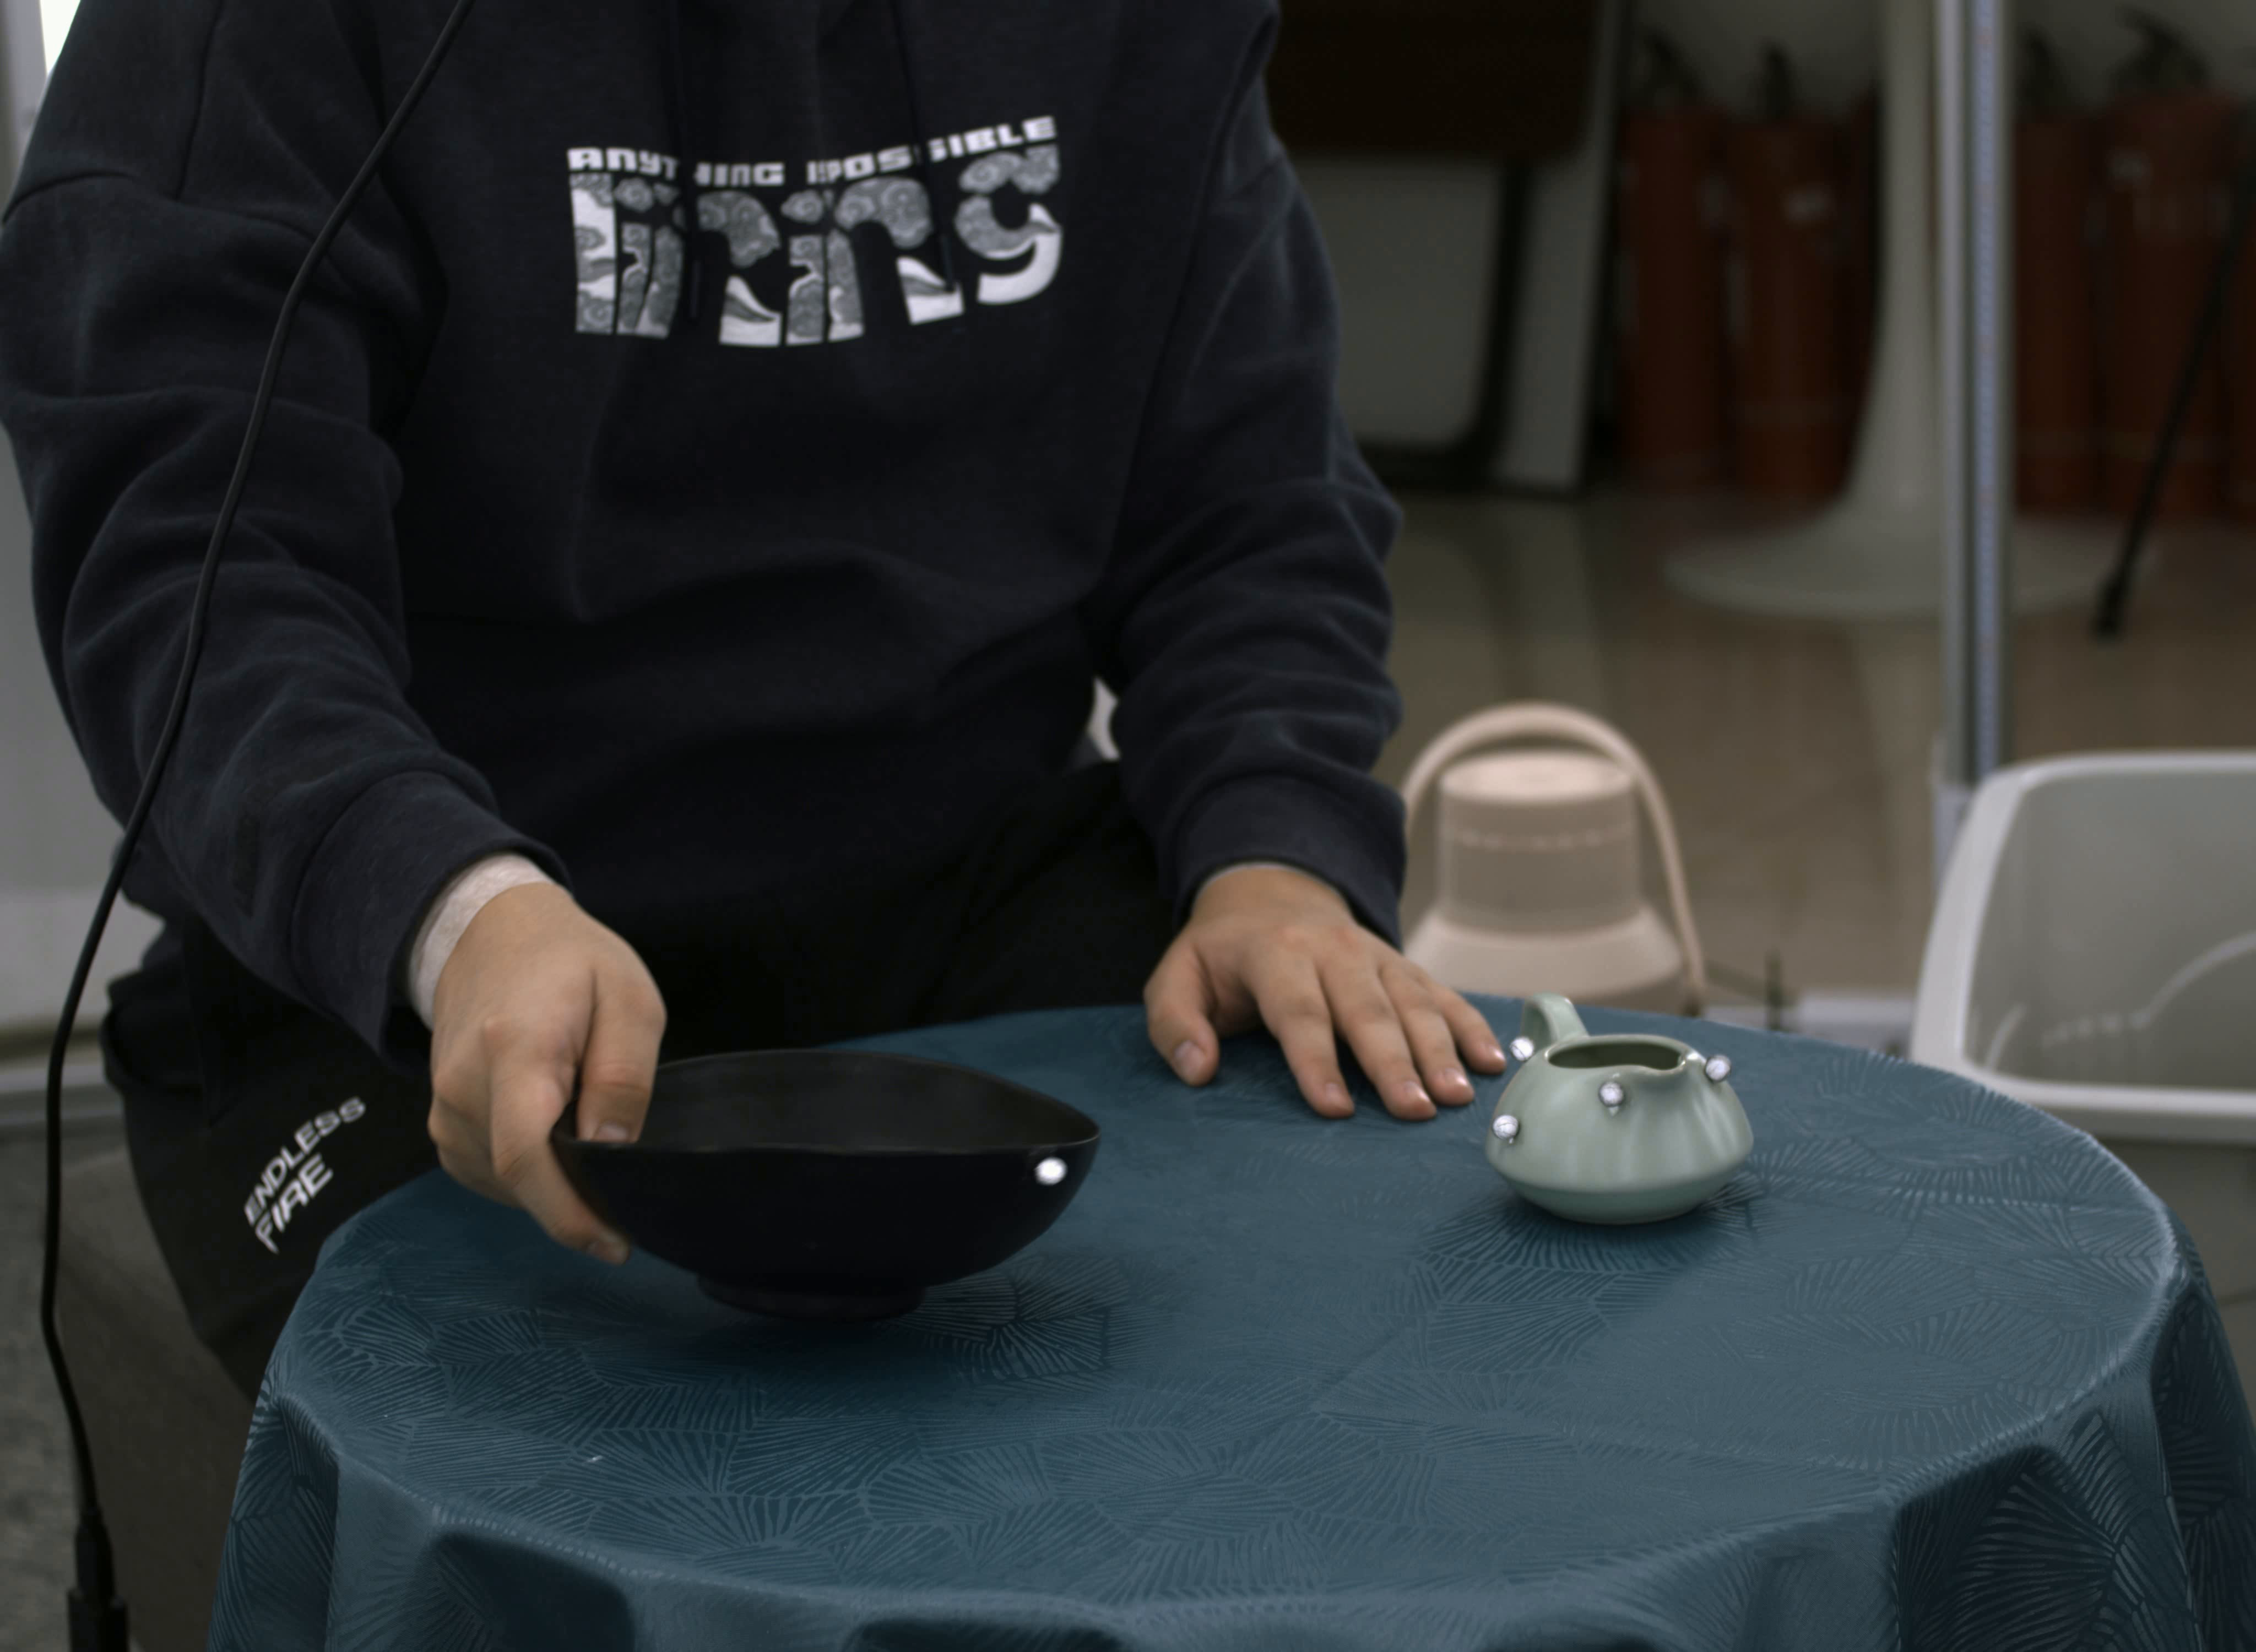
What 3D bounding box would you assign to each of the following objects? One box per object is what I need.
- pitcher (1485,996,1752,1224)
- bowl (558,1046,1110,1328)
[{"bbox_3d":[0.152,0.092,1.734,0.084,0.061,0.109,-8,12,-21],"label":"pitcher"},{"bbox_3d":[-0.089,0.113,1.647,0.167,0.067,0.138,2,9,-13],"label":"bowl"}]
